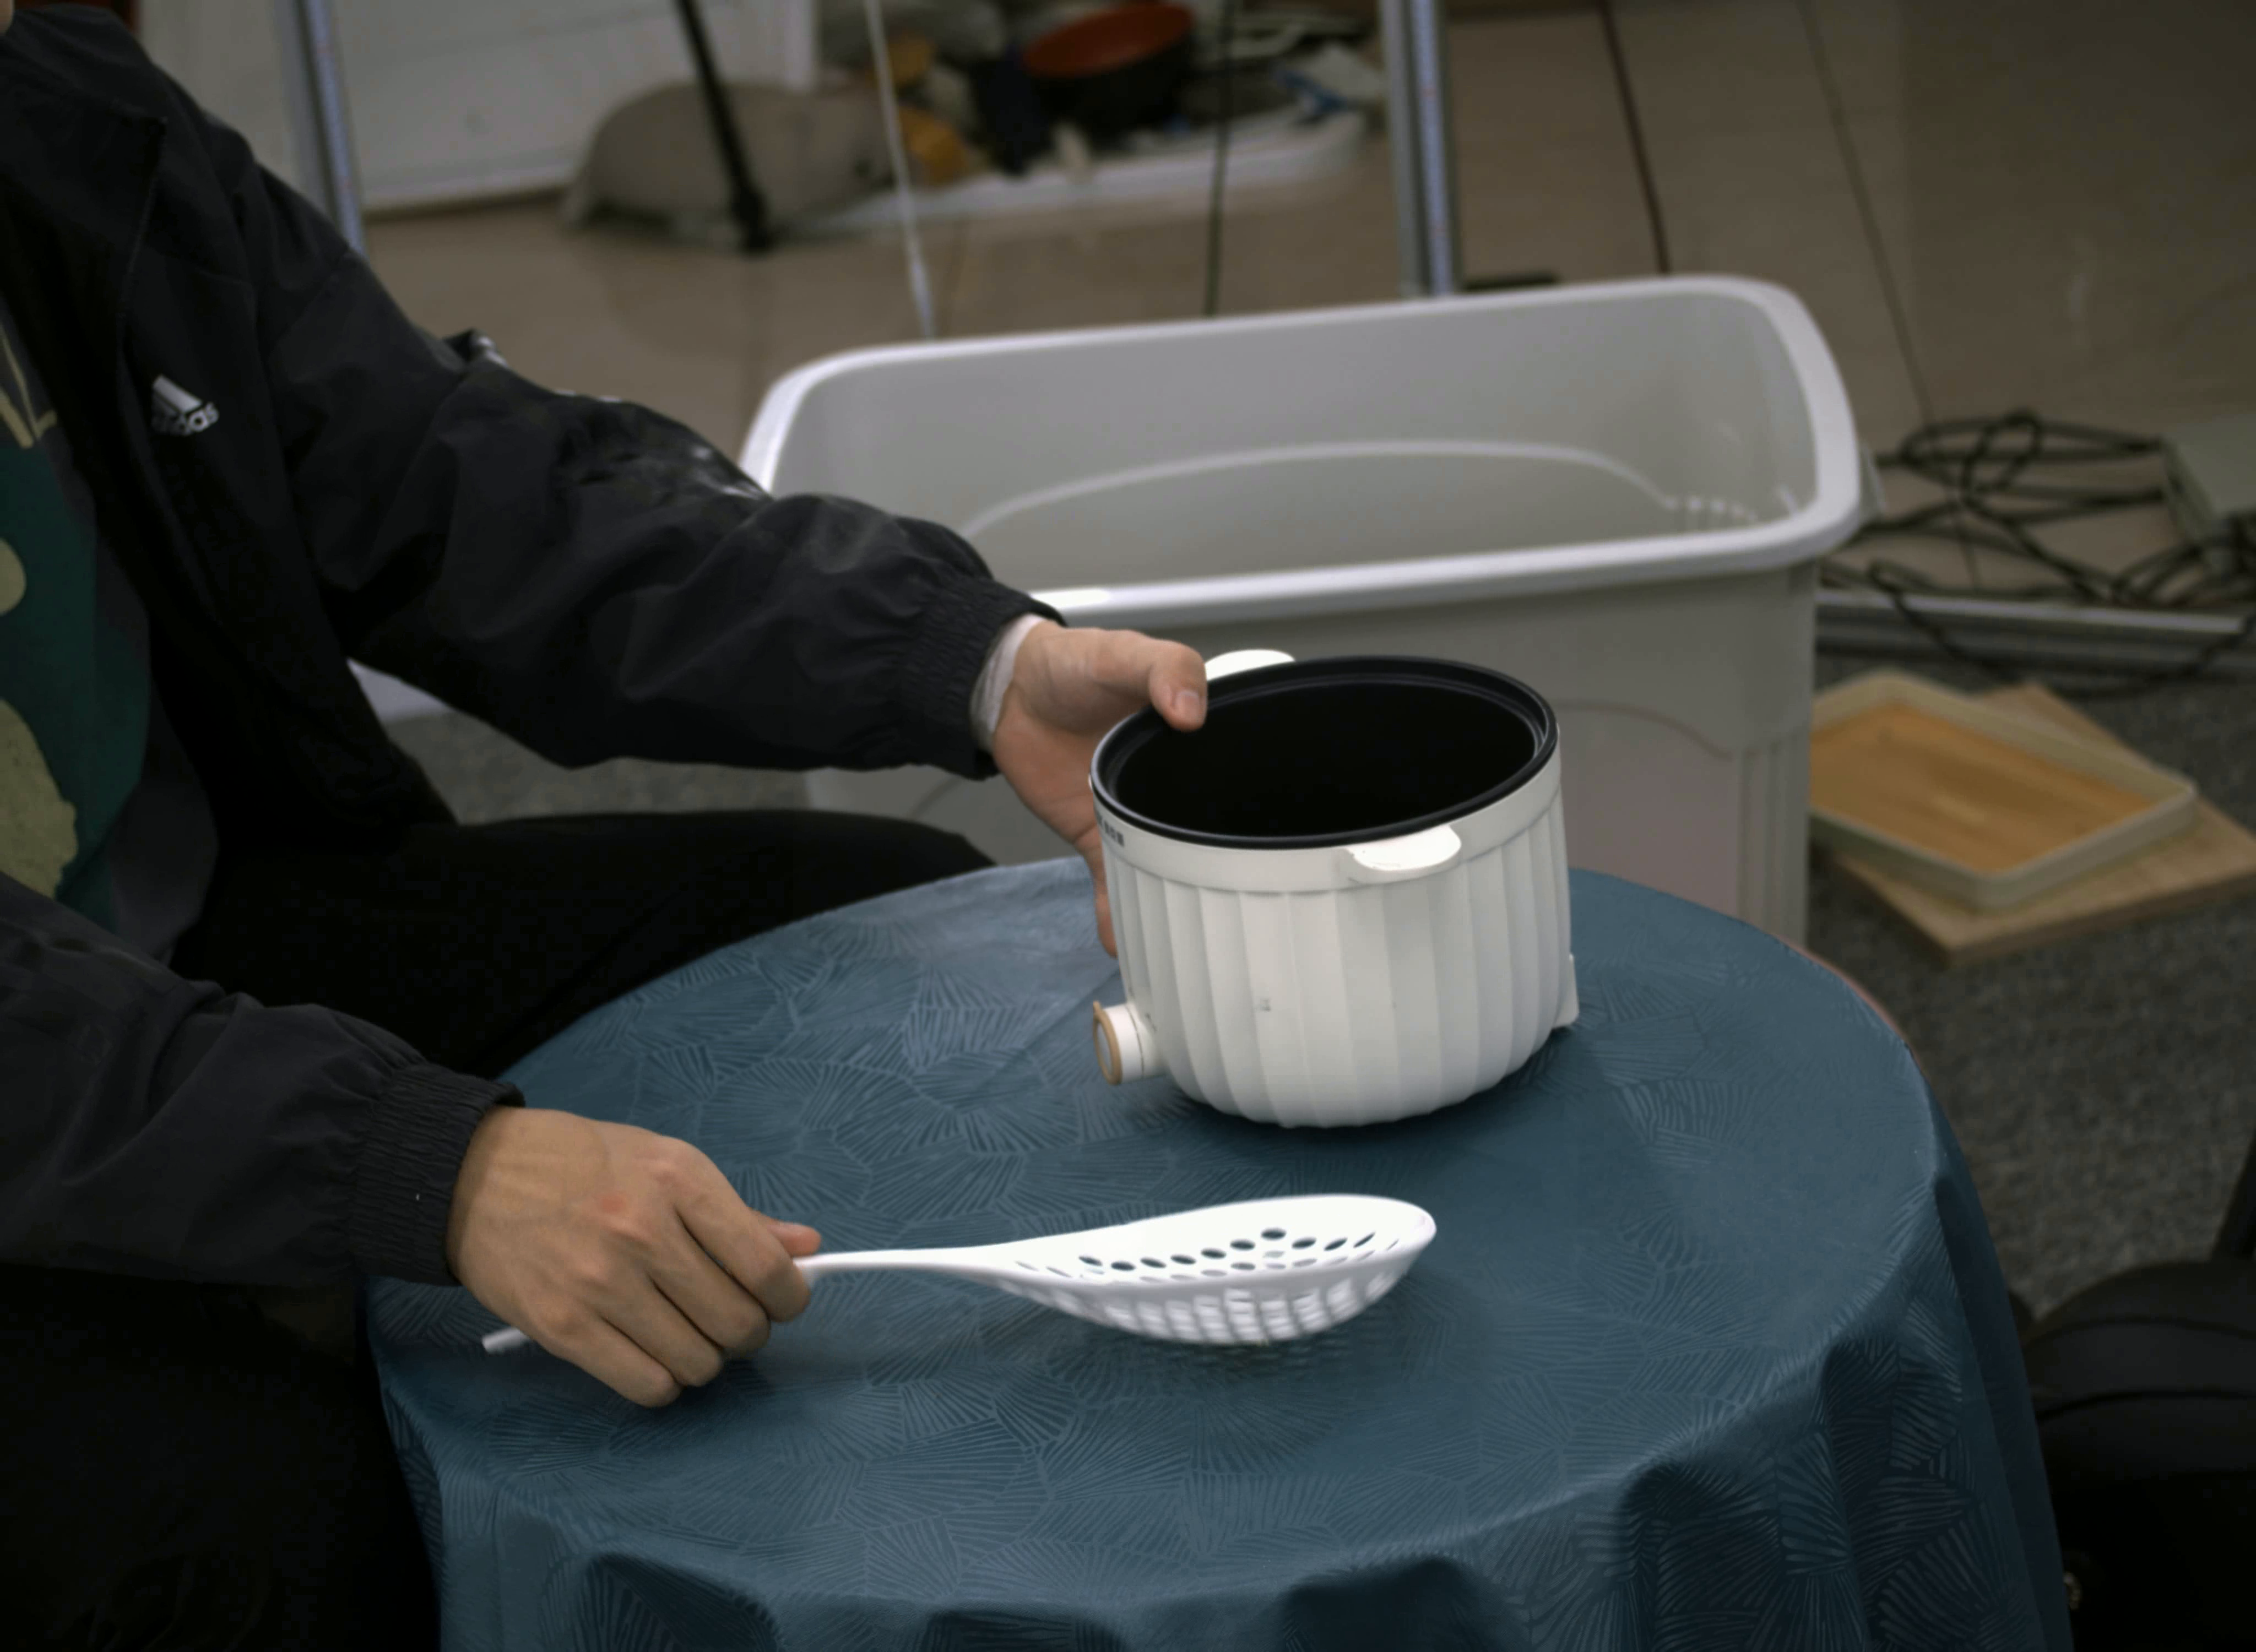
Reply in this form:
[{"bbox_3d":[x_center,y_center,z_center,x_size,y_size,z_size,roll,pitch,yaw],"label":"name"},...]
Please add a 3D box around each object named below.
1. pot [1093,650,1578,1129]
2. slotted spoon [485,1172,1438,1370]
[{"bbox_3d":[0.078,0.031,2.192,0.190,0.145,0.237,-10,23,-14],"label":"pot"},{"bbox_3d":[-0.061,0.167,2.041,0.347,0.051,0.136,-1,12,7],"label":"slotted spoon"}]
